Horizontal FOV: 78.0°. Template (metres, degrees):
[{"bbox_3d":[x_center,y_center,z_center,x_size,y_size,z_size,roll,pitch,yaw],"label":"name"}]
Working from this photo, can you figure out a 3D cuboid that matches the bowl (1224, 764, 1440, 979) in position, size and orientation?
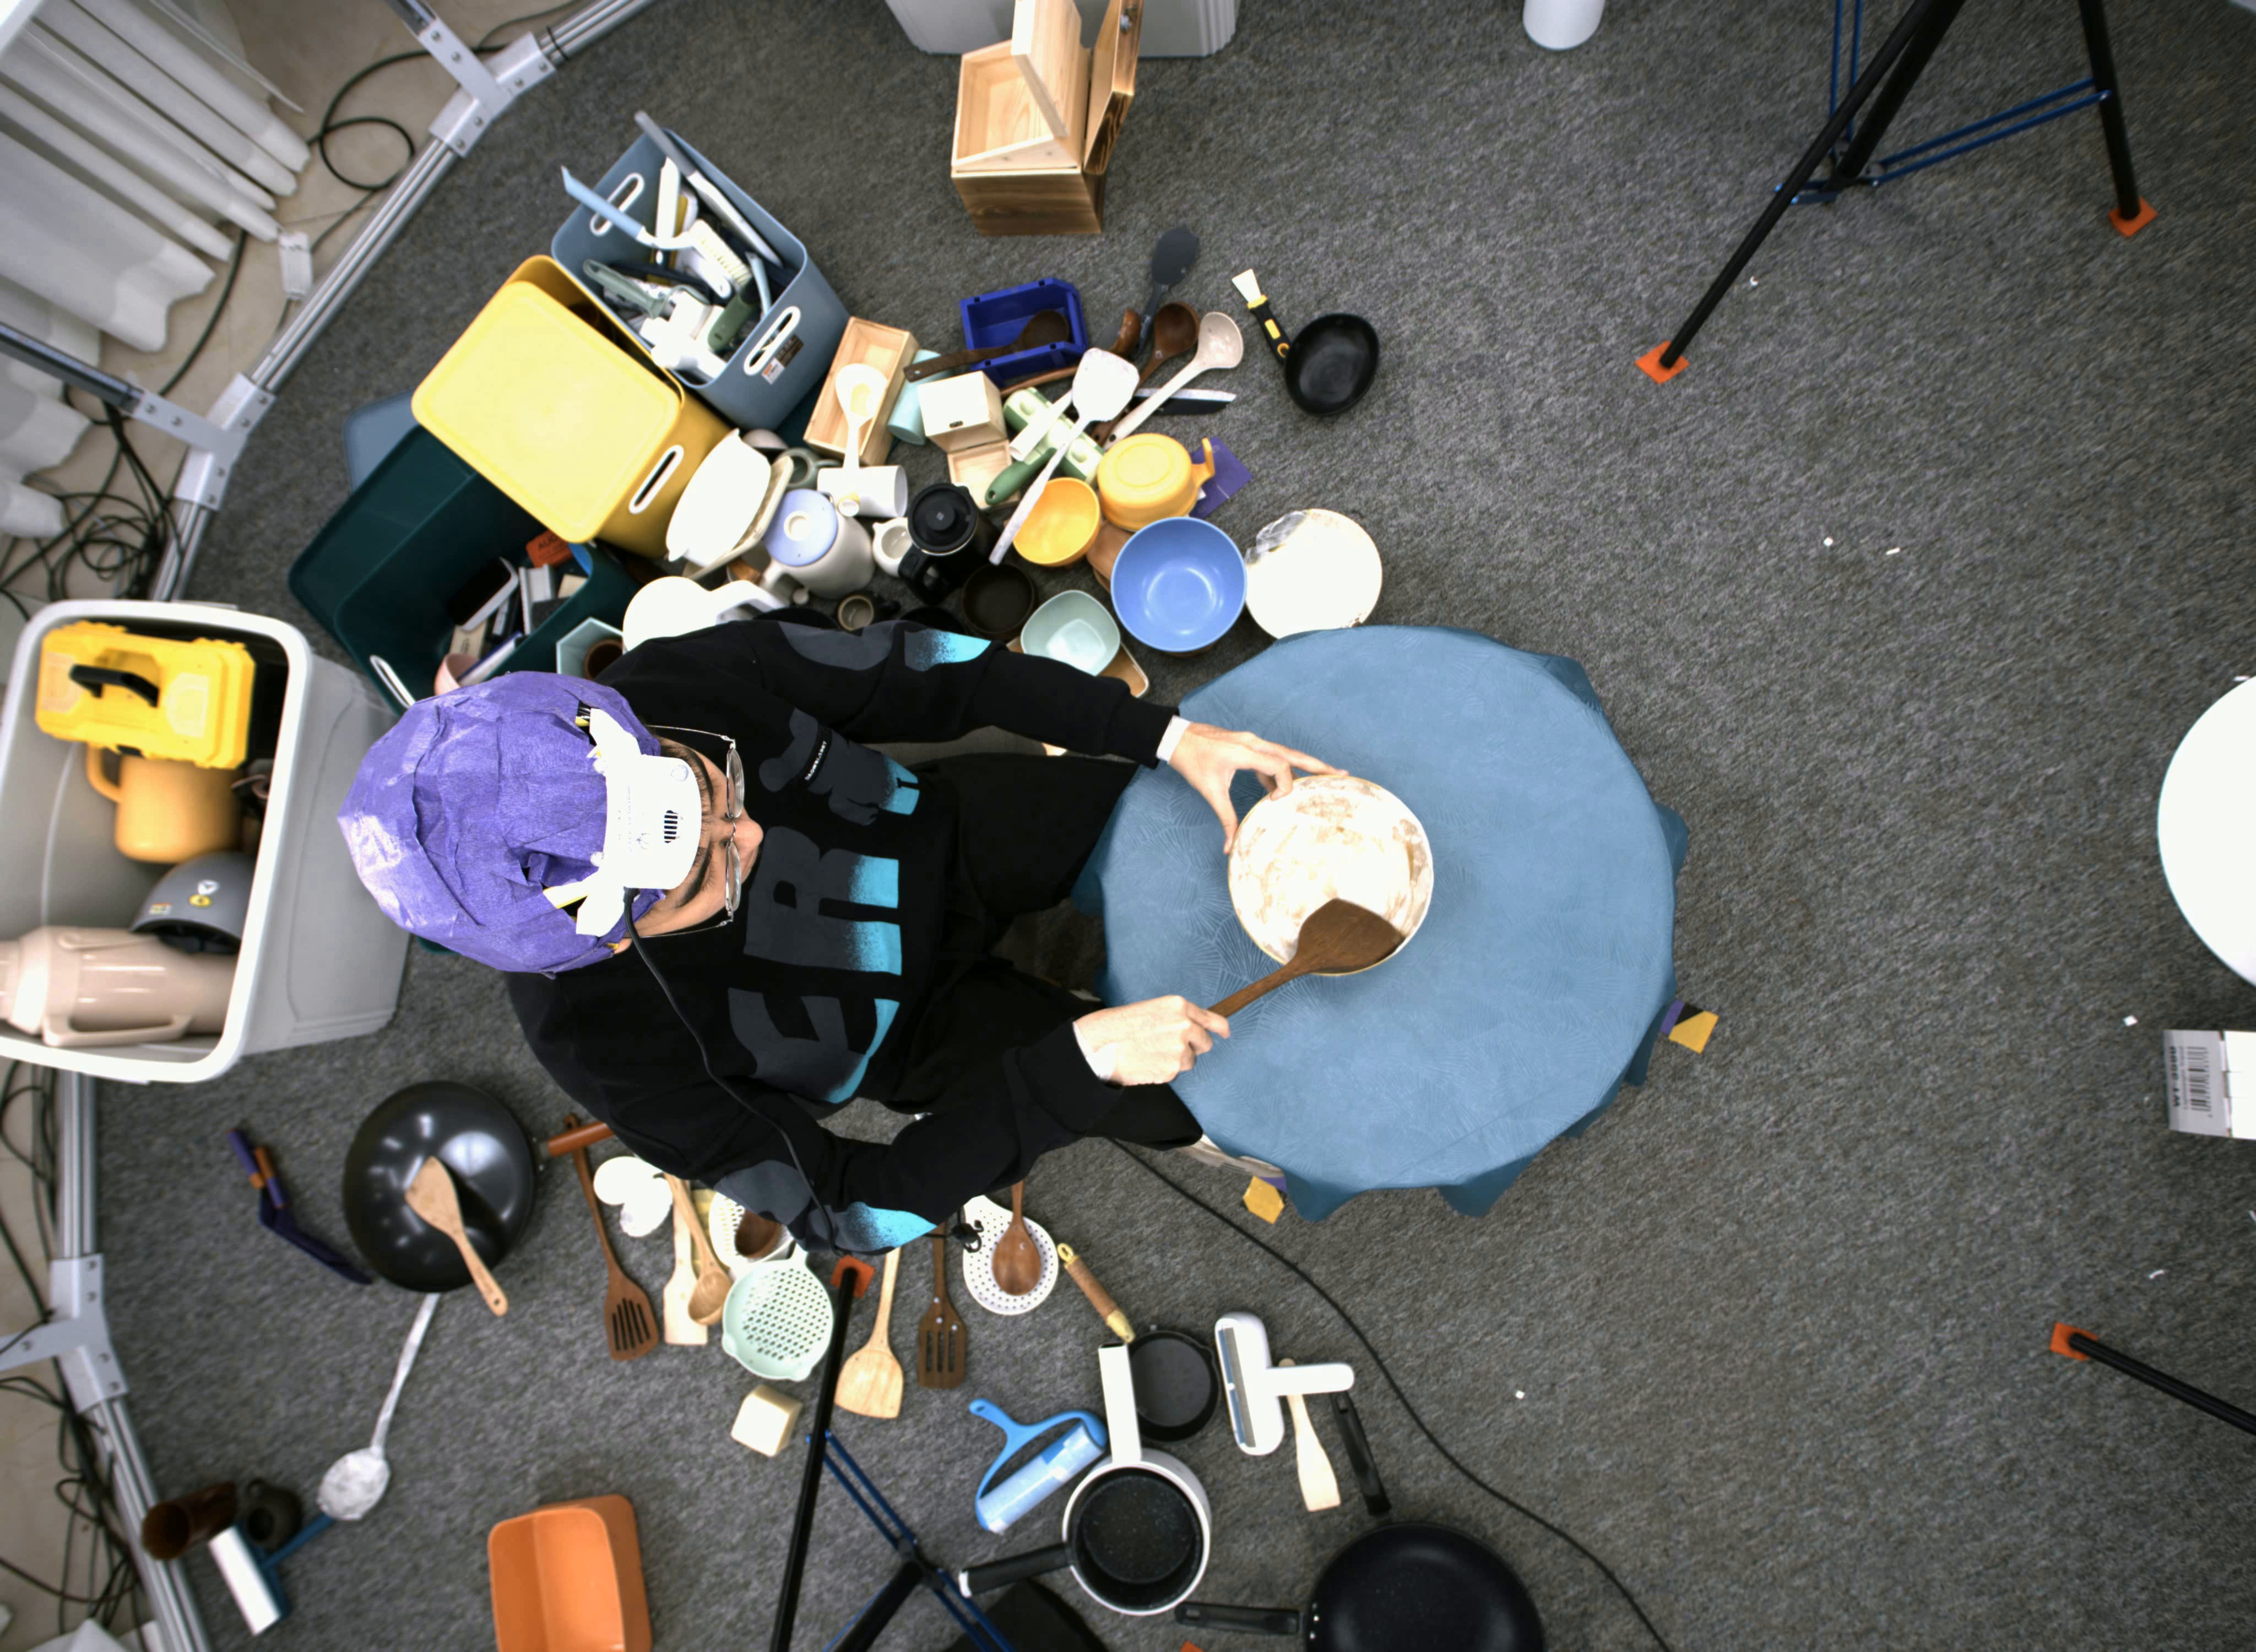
[{"bbox_3d":[0.206,0.047,1.407,0.215,0.094,0.215,0,91,8],"label":"bowl"}]

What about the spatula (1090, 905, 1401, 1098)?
[{"bbox_3d":[0.112,0.162,1.308,0.095,0.380,0.016,29,132,40],"label":"spatula"}]
